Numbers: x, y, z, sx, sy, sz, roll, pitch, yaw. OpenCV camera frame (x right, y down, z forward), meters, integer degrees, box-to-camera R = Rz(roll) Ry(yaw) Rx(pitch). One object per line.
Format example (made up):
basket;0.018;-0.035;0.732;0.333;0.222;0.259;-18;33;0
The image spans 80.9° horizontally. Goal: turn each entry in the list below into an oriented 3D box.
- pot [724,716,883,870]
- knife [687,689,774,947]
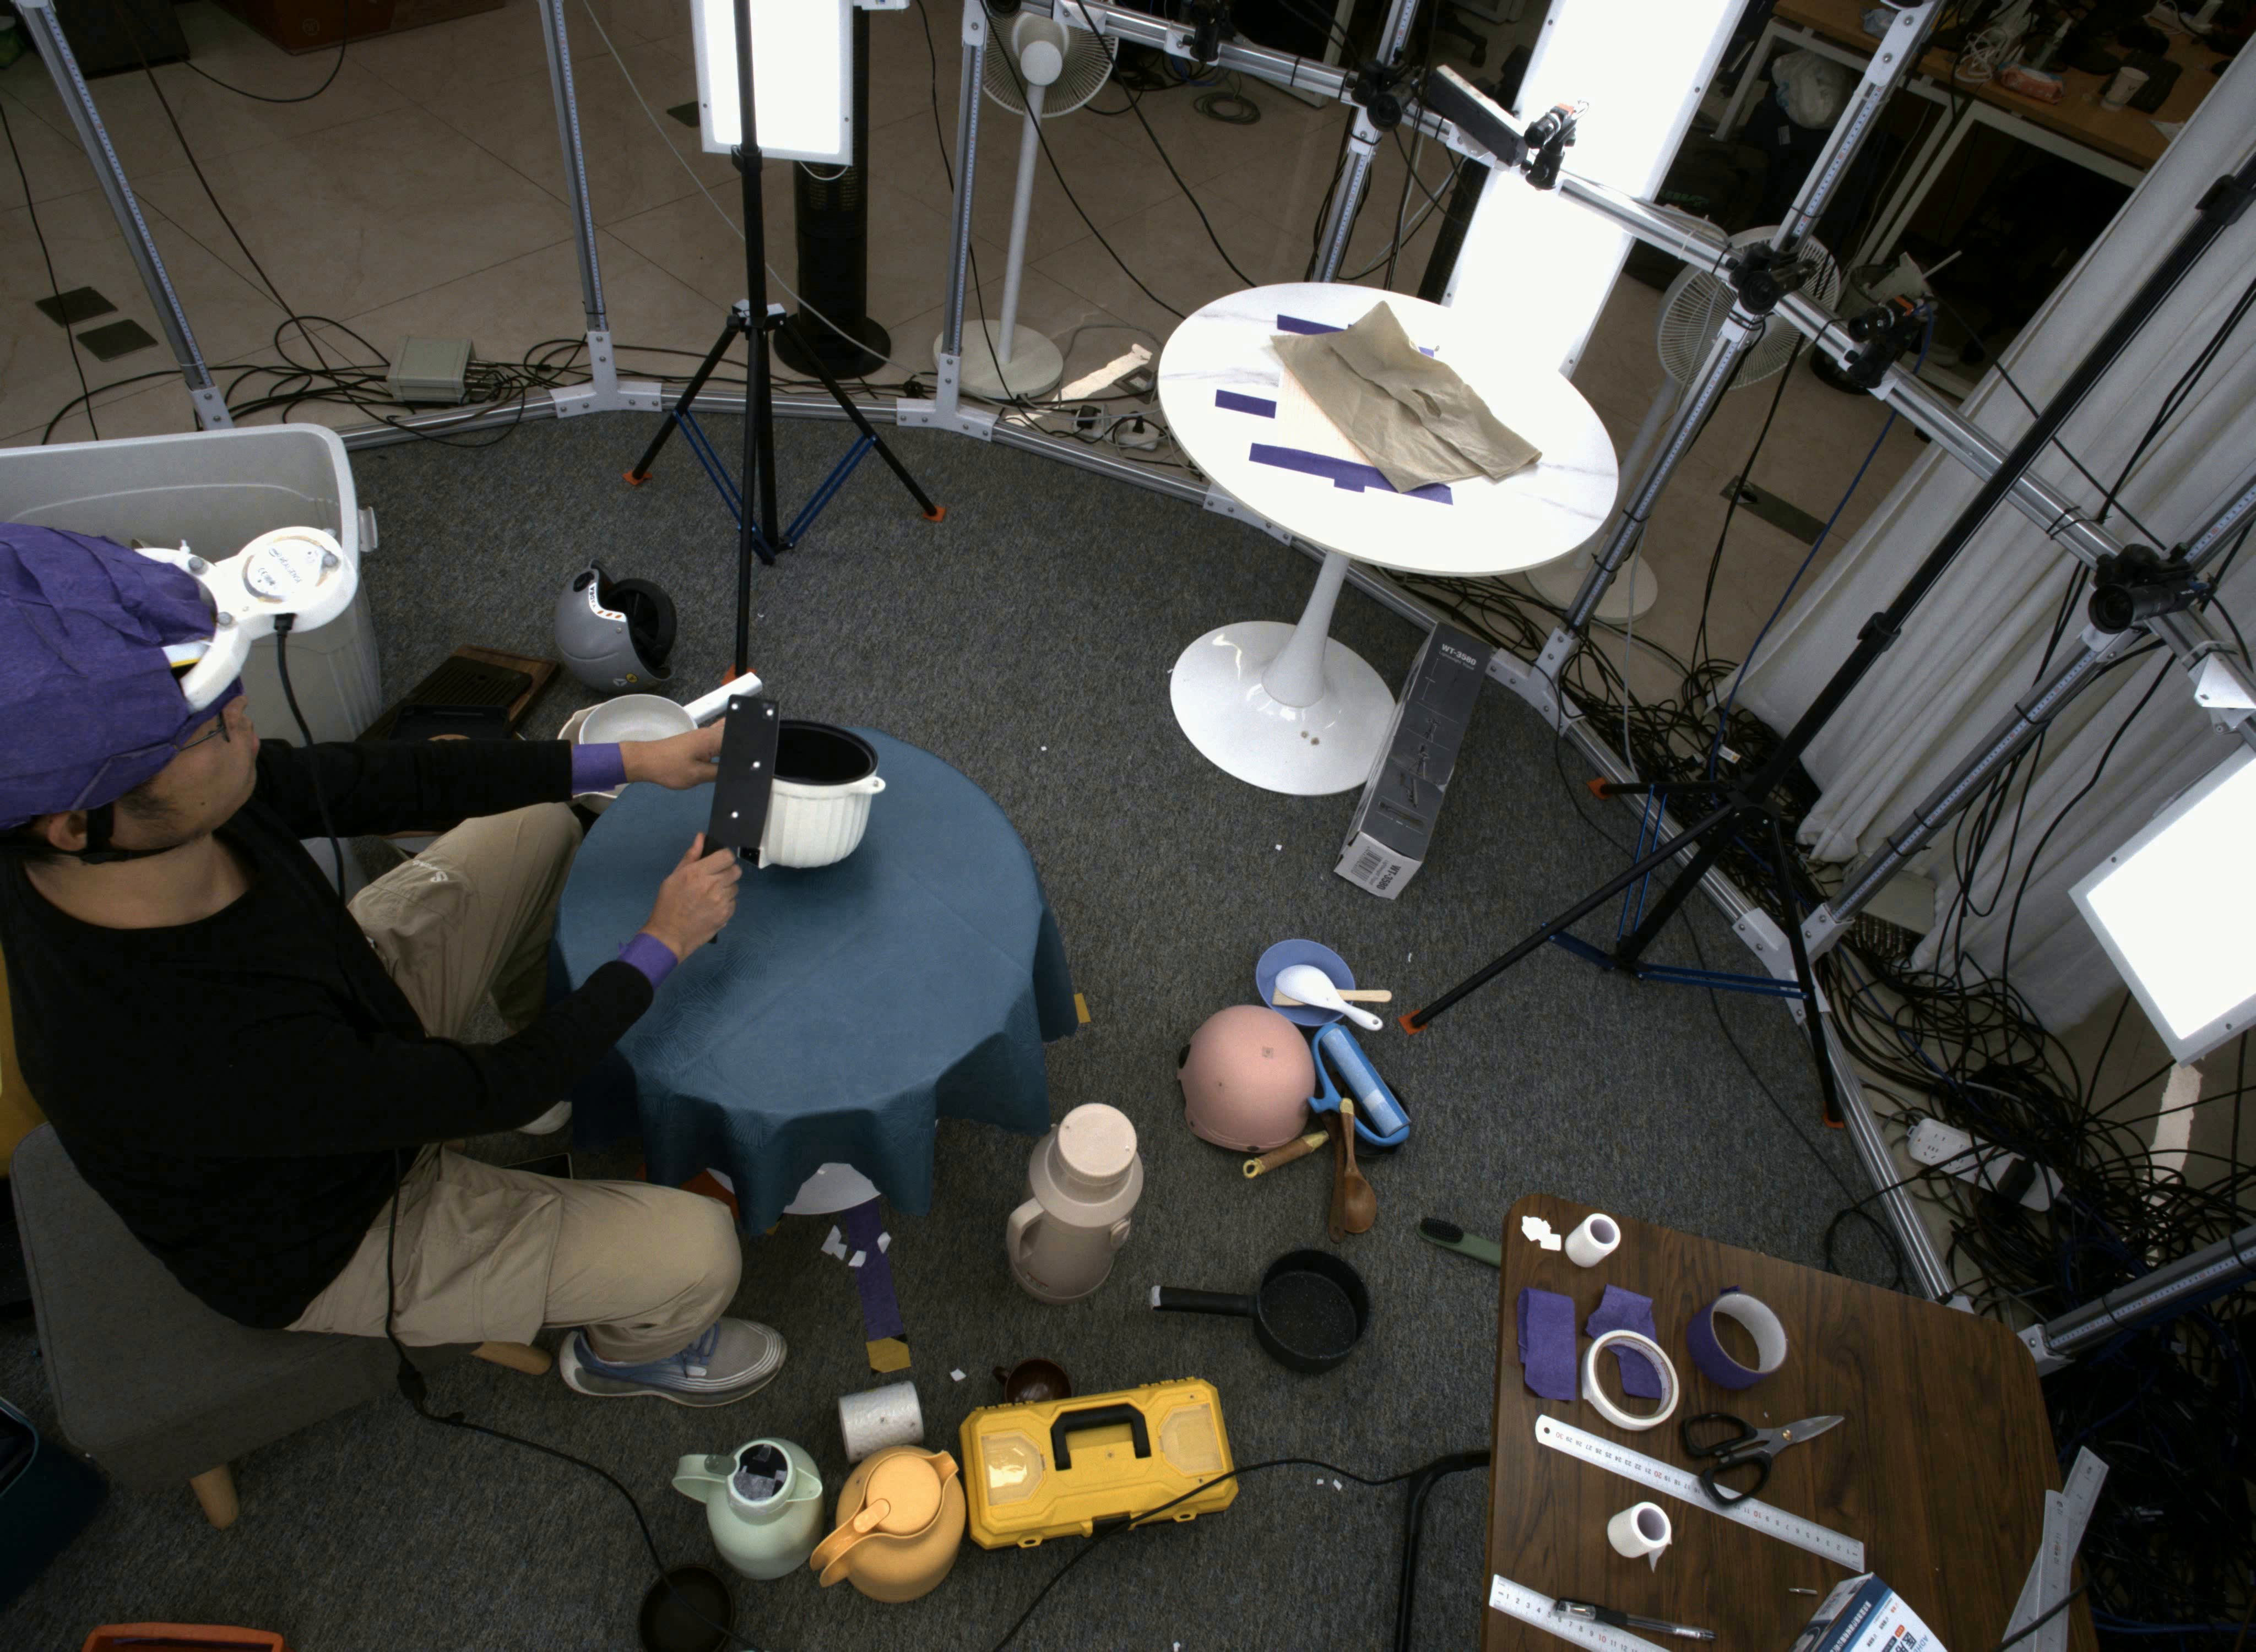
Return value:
pot;-0.416;-0.041;1.643;0.234;0.146;0.191;25;31;16
knife;-0.469;-0.008;1.514;0.083;0.306;0.020;10;8;-35
